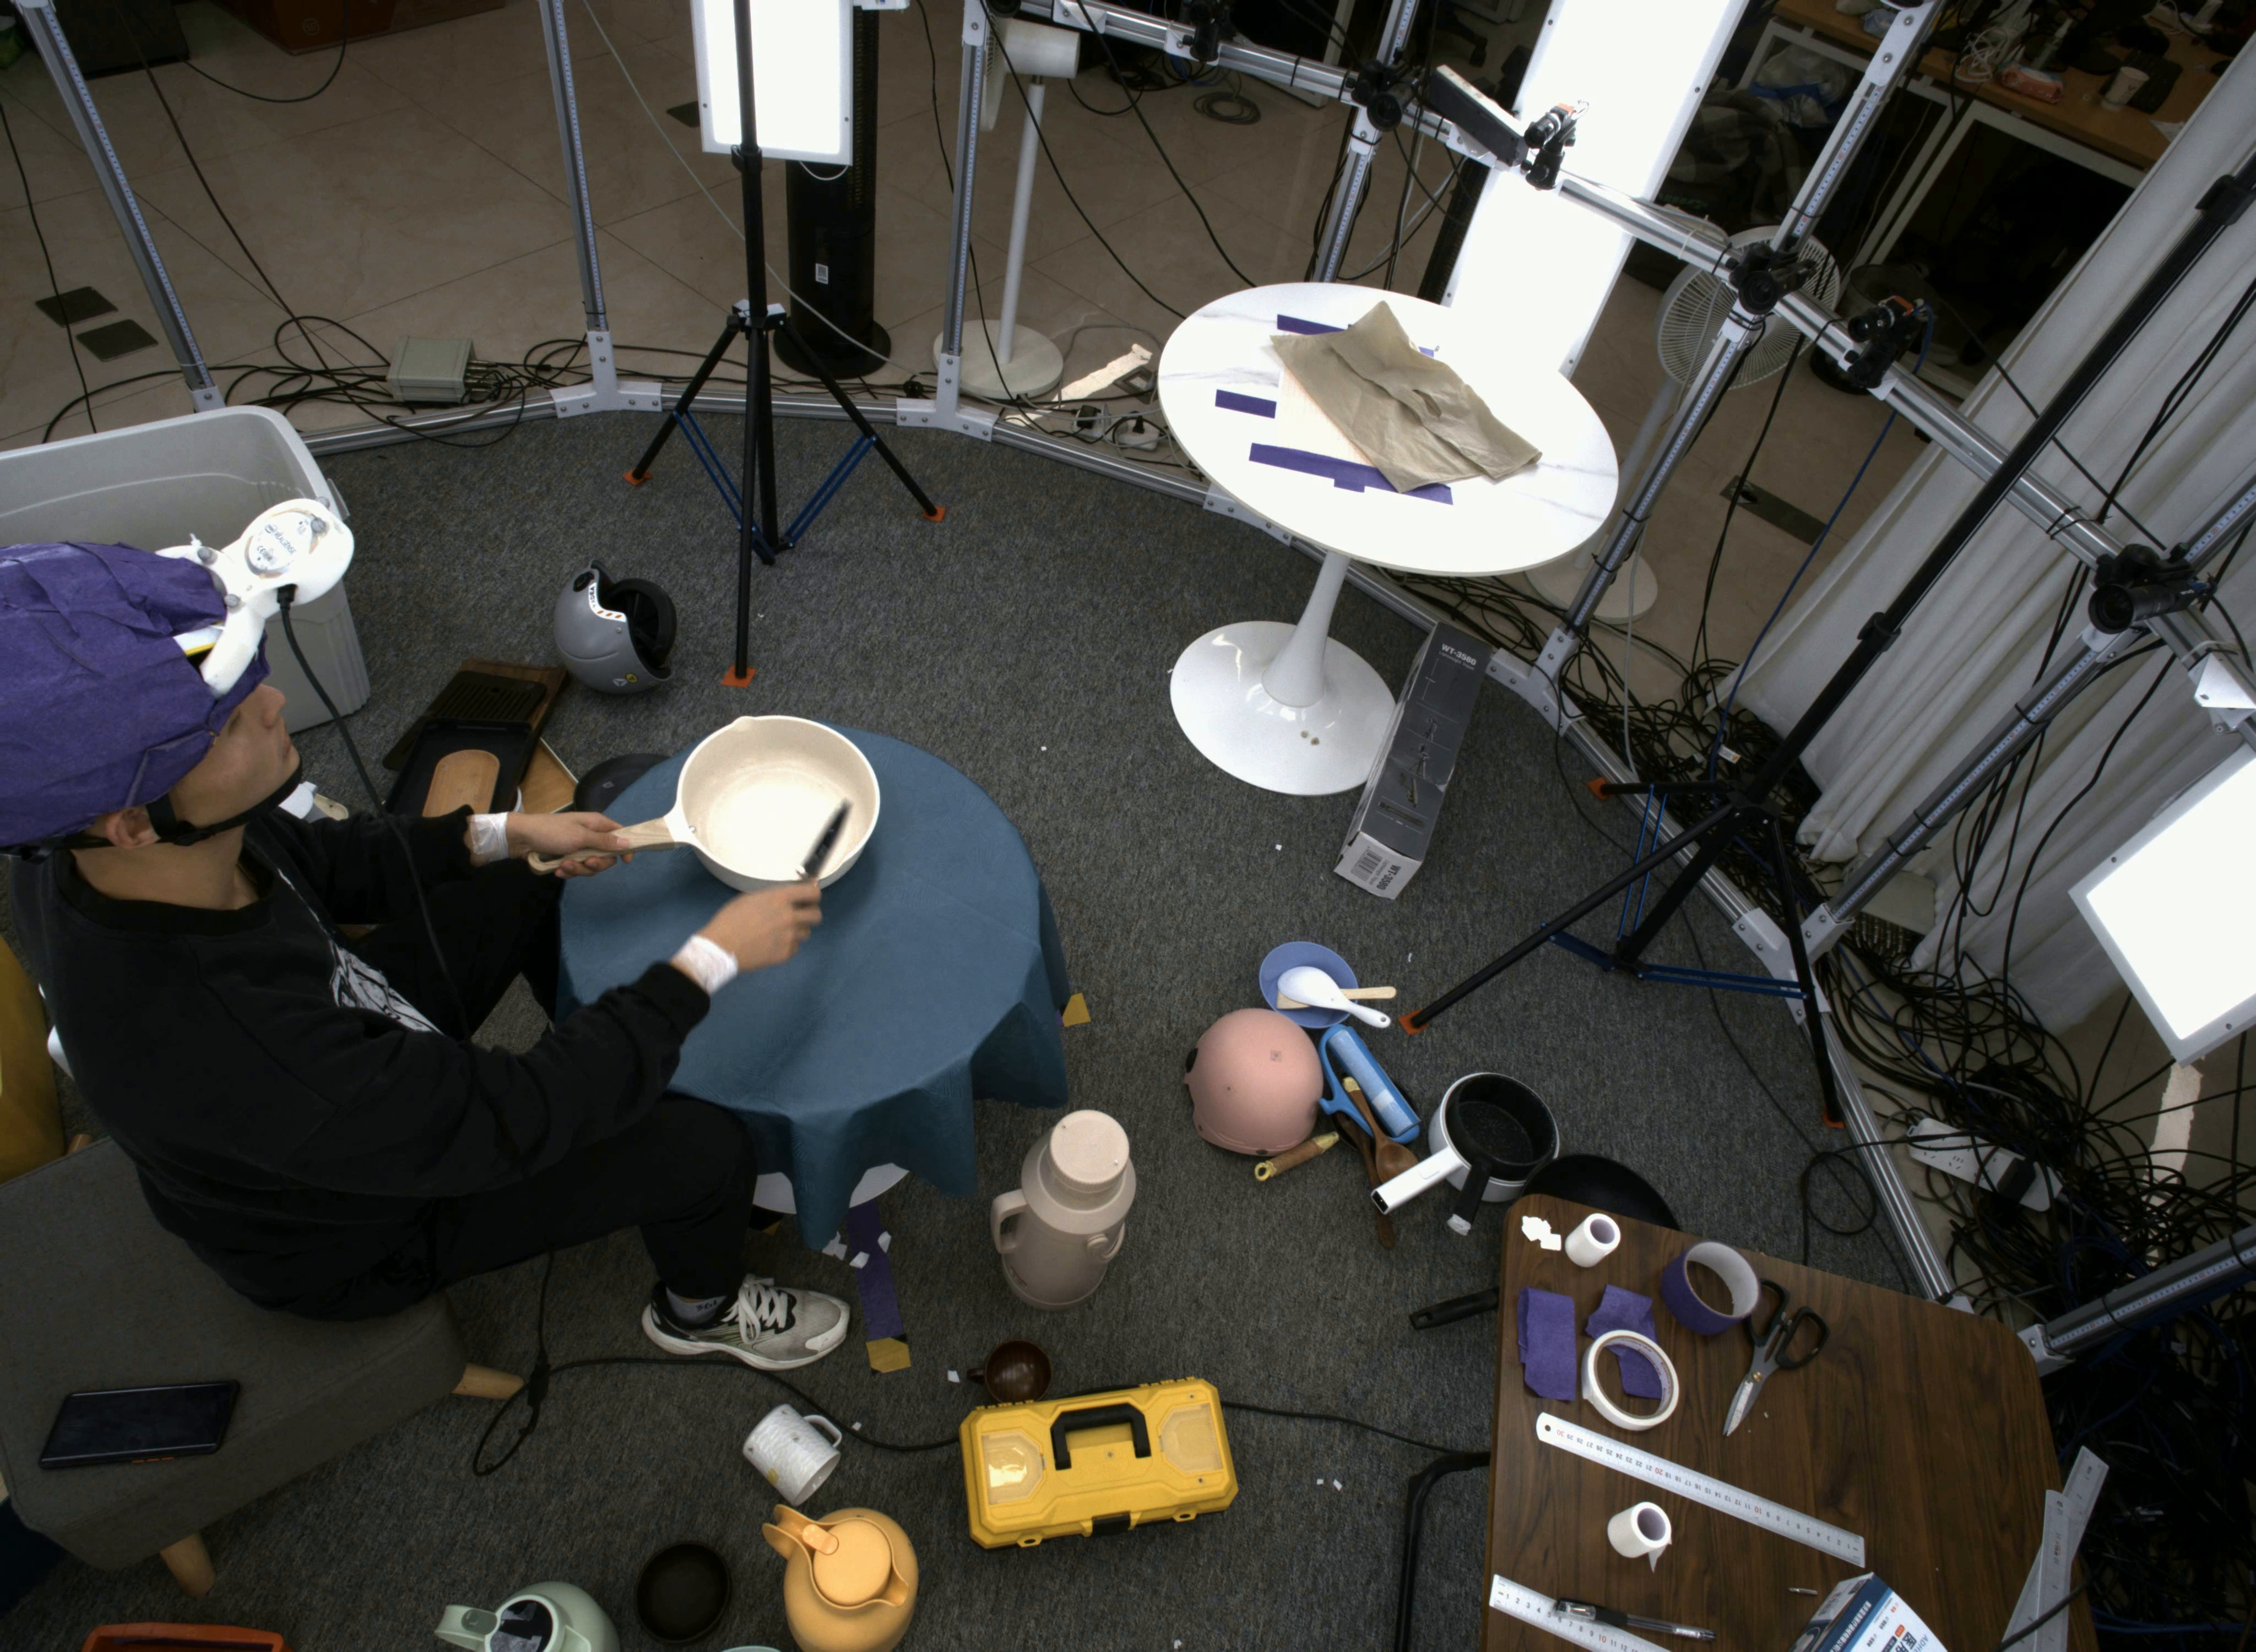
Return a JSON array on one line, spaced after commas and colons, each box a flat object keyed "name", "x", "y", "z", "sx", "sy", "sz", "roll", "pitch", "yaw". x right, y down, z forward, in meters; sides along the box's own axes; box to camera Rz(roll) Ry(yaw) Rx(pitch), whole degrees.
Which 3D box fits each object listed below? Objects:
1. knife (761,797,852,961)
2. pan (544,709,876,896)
[{"name": "knife", "x": -0.368, "y": 0.057, "z": 1.509, "sx": 0.026, "sy": 0.017, "sz": 0.224, "roll": 29, "pitch": 61, "yaw": -9}, {"name": "pan", "x": -0.527, "y": 0.001, "z": 1.616, "sx": 0.437, "sy": 0.103, "sz": 0.259, "roll": -21, "pitch": 69, "yaw": -28}]
